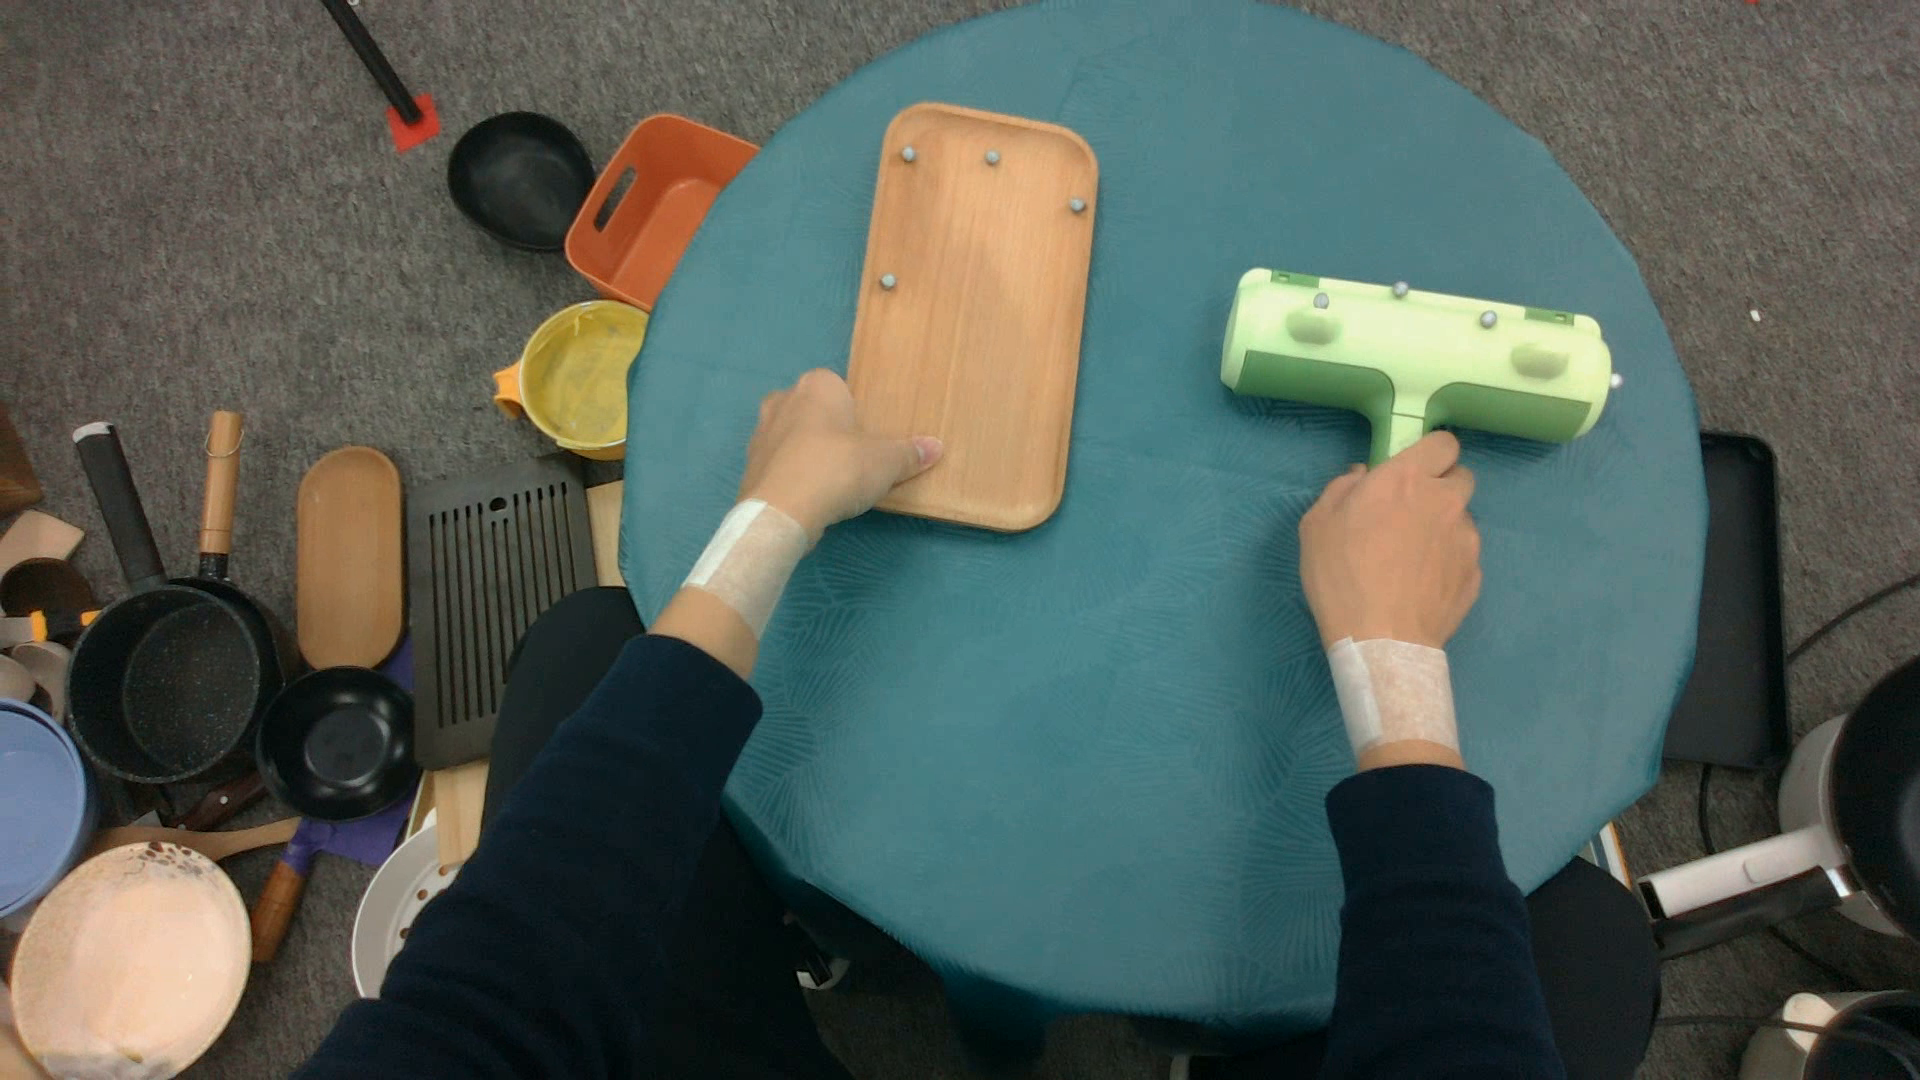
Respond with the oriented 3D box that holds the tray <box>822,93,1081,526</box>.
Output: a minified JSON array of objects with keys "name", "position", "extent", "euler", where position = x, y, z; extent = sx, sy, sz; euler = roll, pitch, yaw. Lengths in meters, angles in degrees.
[{"name":"tray","position":[-0.002,-0.132,0.771],"extent":[0.130,0.023,0.251],"euler":[9,73,-8]}]

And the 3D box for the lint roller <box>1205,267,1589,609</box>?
[{"name":"lint roller","position":[0.227,-0.060,0.716],"extent":[0.198,0.082,0.184],"euler":[6,62,3]}]
